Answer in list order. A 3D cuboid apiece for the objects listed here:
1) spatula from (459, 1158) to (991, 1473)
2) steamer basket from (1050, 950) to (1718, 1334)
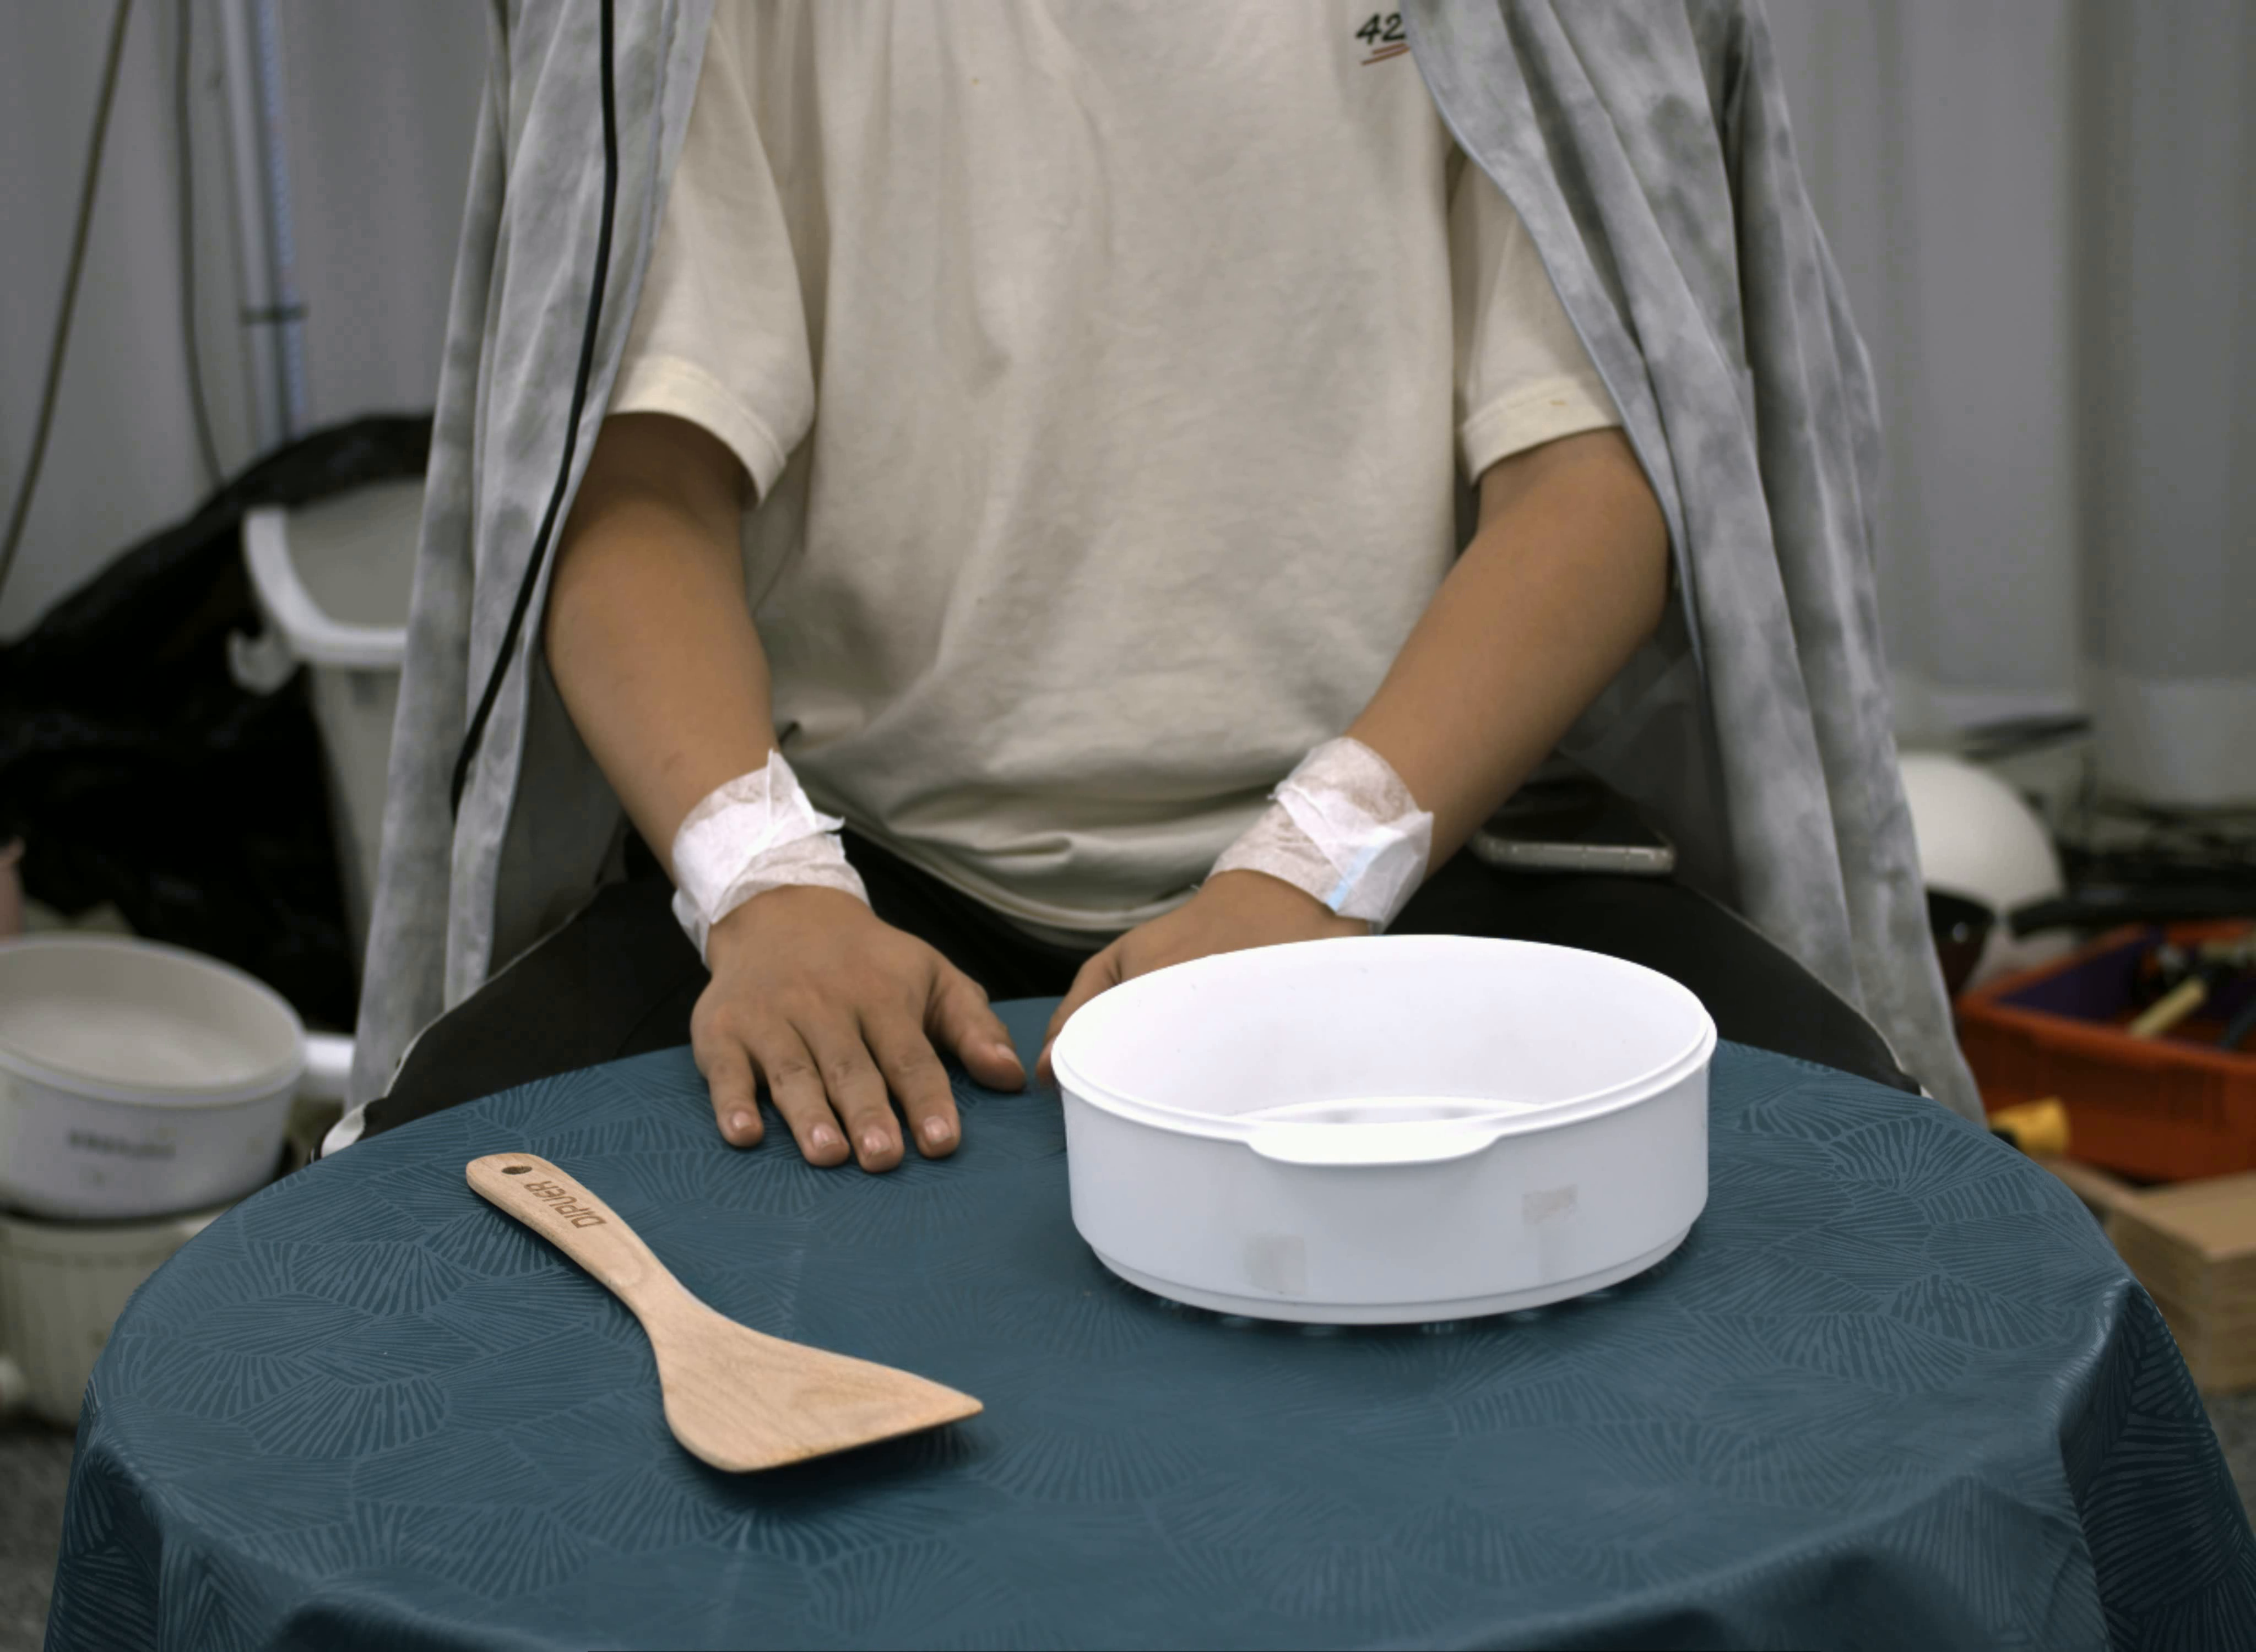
[{"bbox_3d":[-0.135,0.140,1.618,0.079,0.016,0.330,-9,16,-24],"label":"spatula"},{"bbox_3d":[0.077,0.095,1.653,0.201,0.069,0.232,0,14,5],"label":"steamer basket"}]
